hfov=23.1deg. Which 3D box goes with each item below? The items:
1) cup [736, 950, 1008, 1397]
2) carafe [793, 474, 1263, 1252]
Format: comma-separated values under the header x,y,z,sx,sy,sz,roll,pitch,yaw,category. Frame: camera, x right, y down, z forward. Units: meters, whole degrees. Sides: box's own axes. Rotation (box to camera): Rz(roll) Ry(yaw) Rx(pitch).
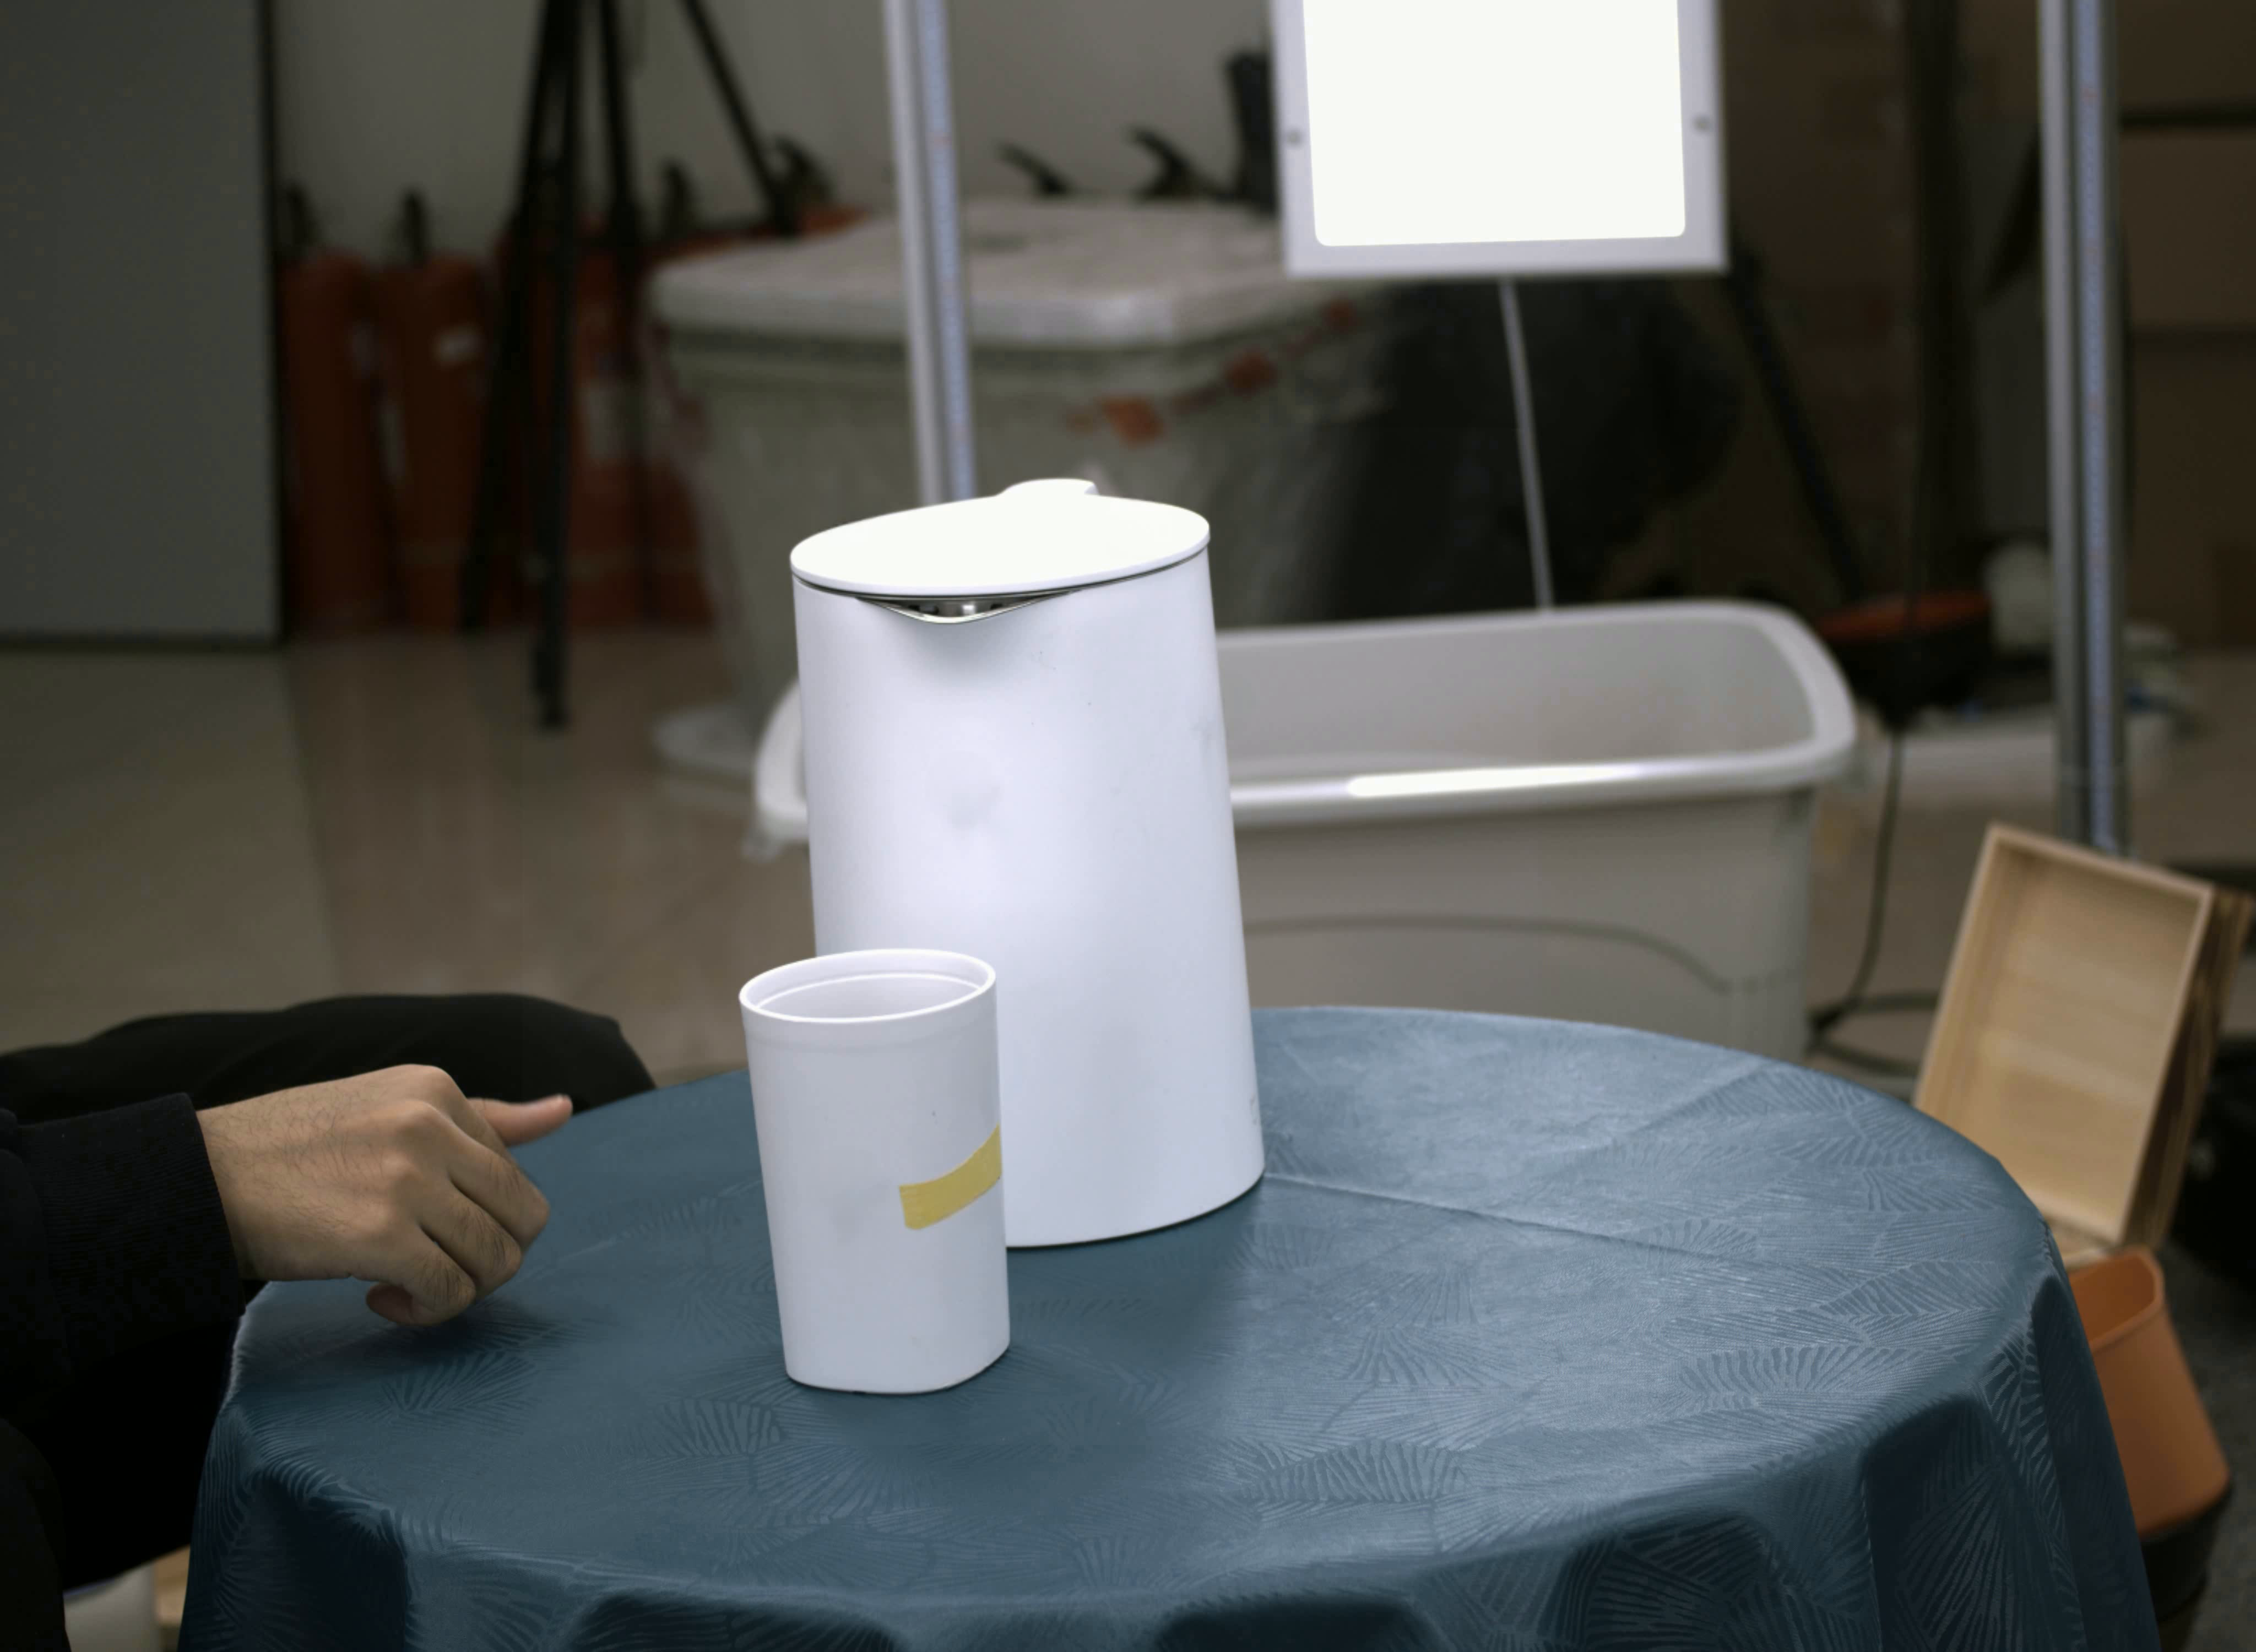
x,y,z,sx,sy,sz,roll,pitch,yaw,category
-0.077,0.110,1.731,0.081,0.126,0.081,-5,13,0,cup
-0.030,0.006,1.910,0.153,0.241,0.211,0,15,11,carafe
